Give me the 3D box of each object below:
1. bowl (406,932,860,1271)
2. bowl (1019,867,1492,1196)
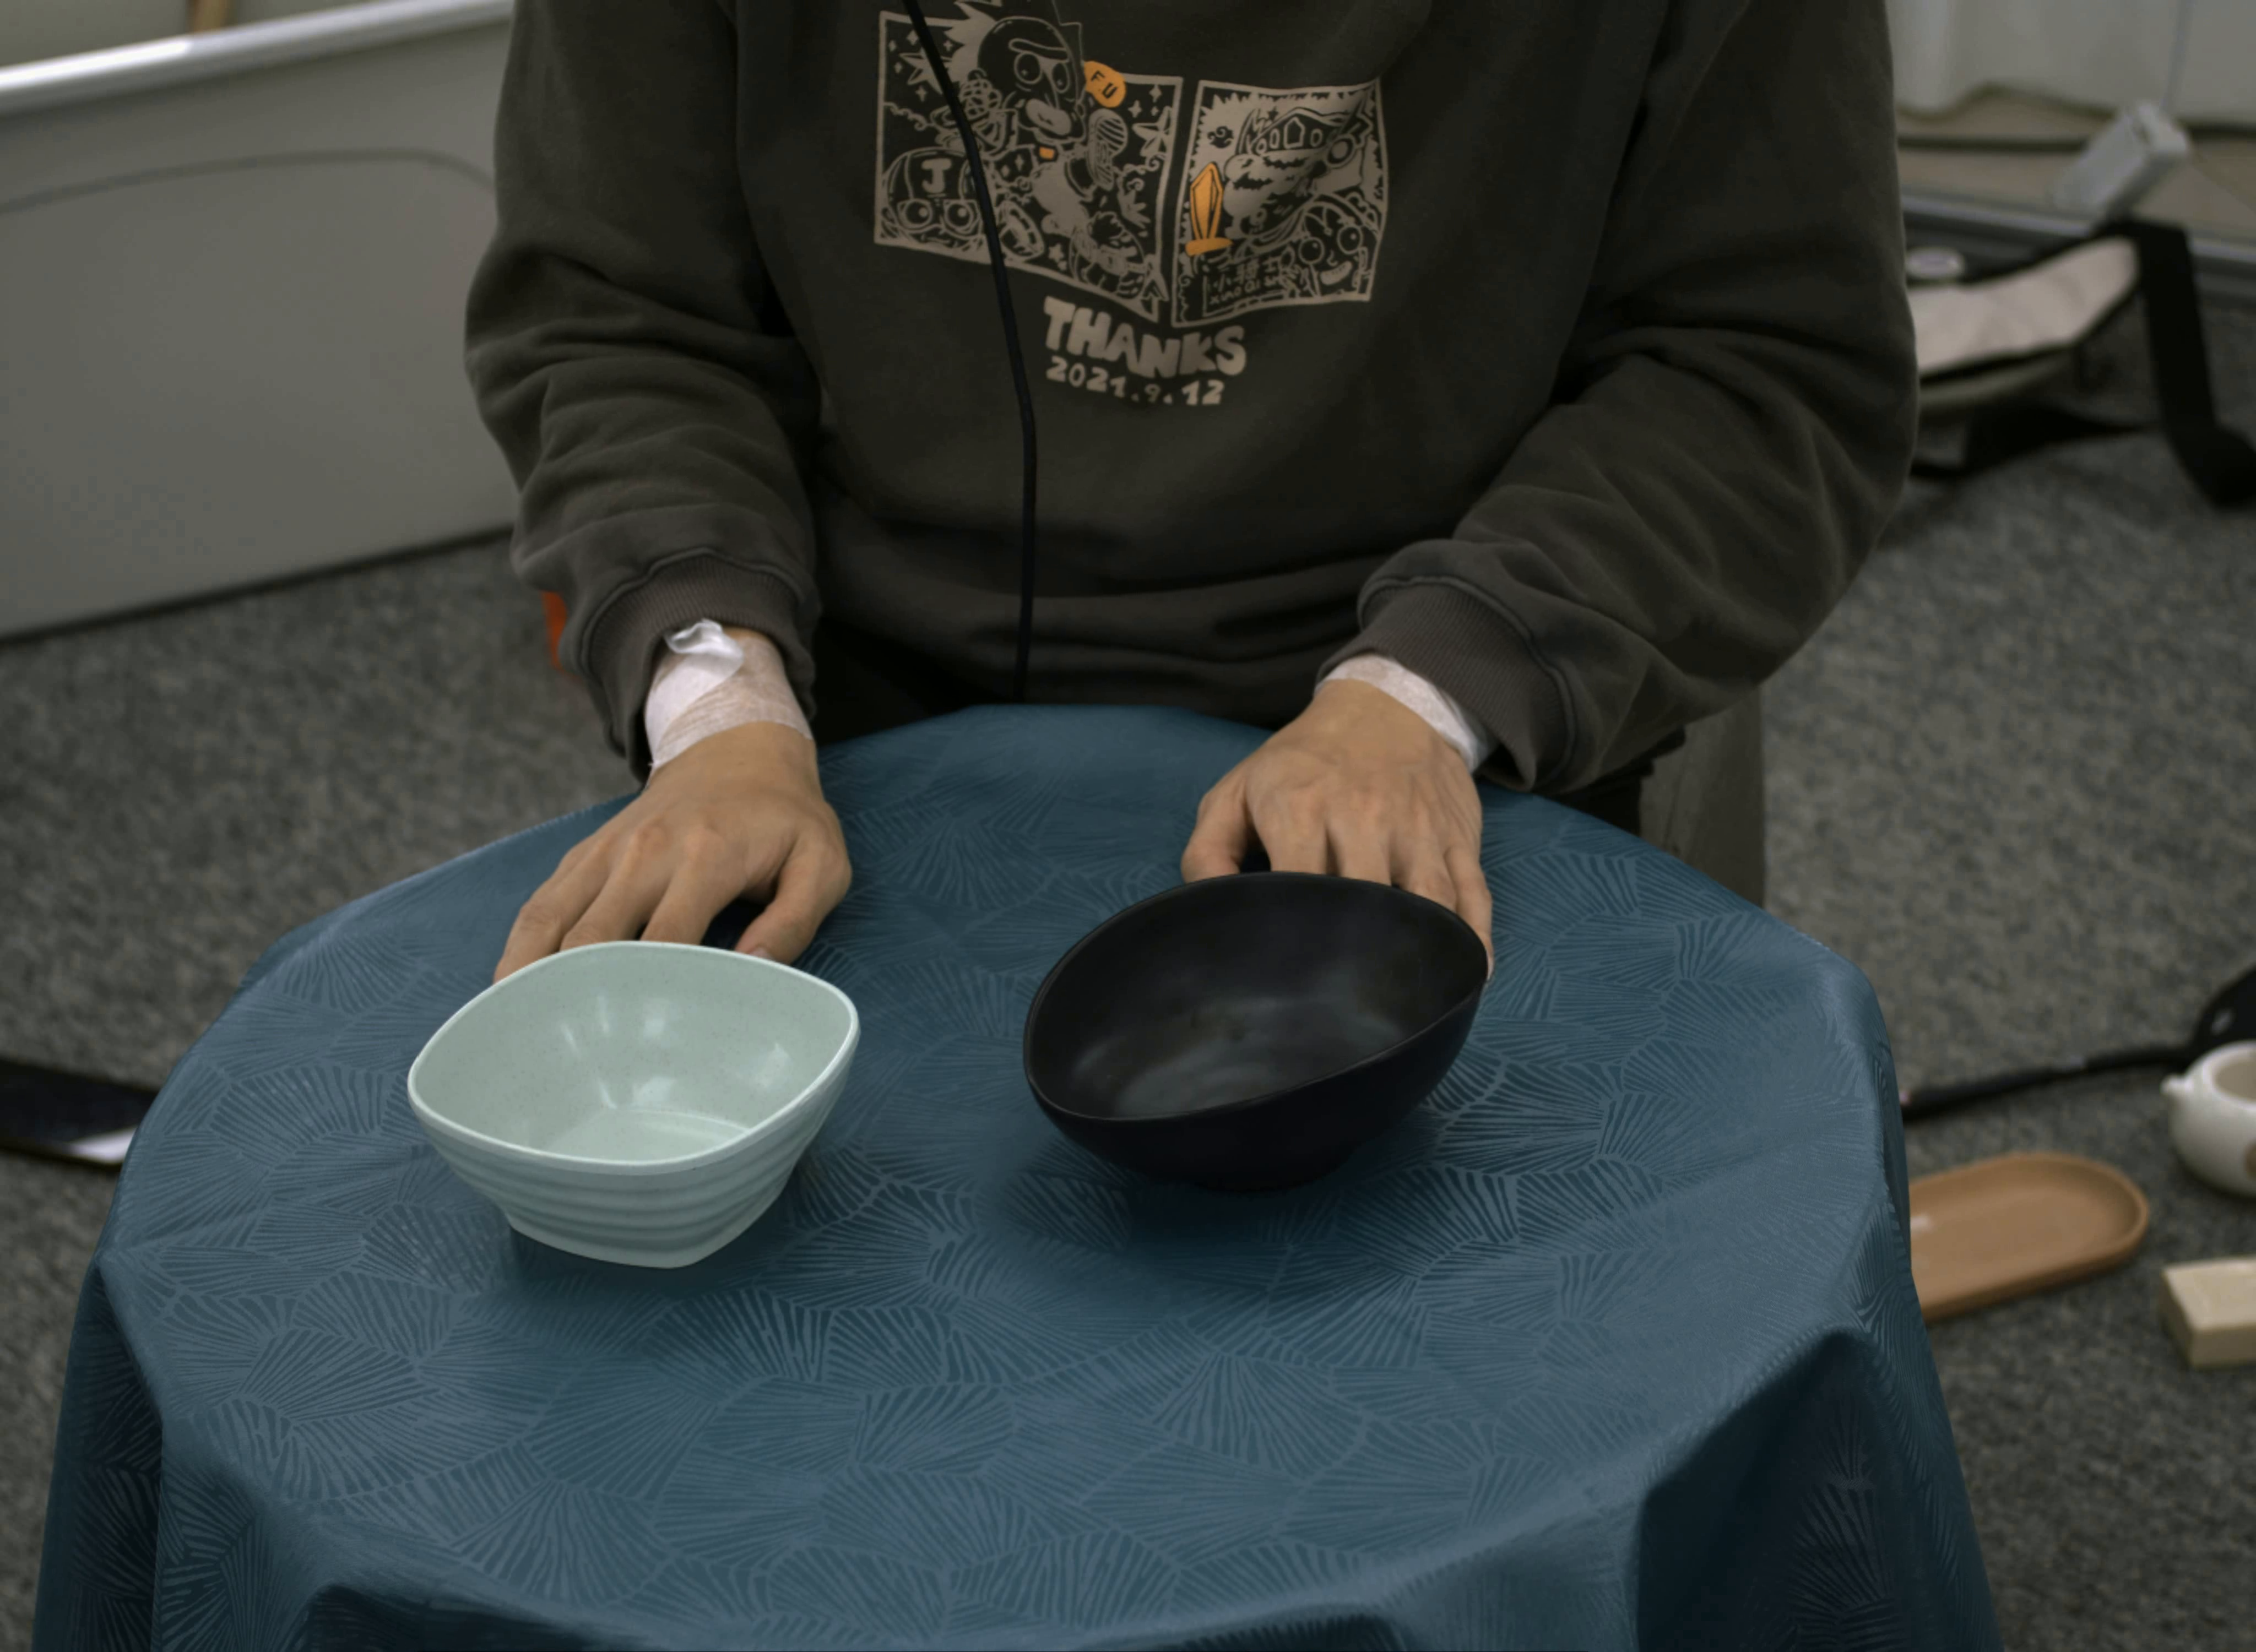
[{"bbox_3d":[-0.162,0.098,1.860,0.151,0.058,0.154,-1,29,1],"label":"bowl"},{"bbox_3d":[0.044,0.079,1.871,0.172,0.066,0.137,-25,35,-34],"label":"bowl"}]
